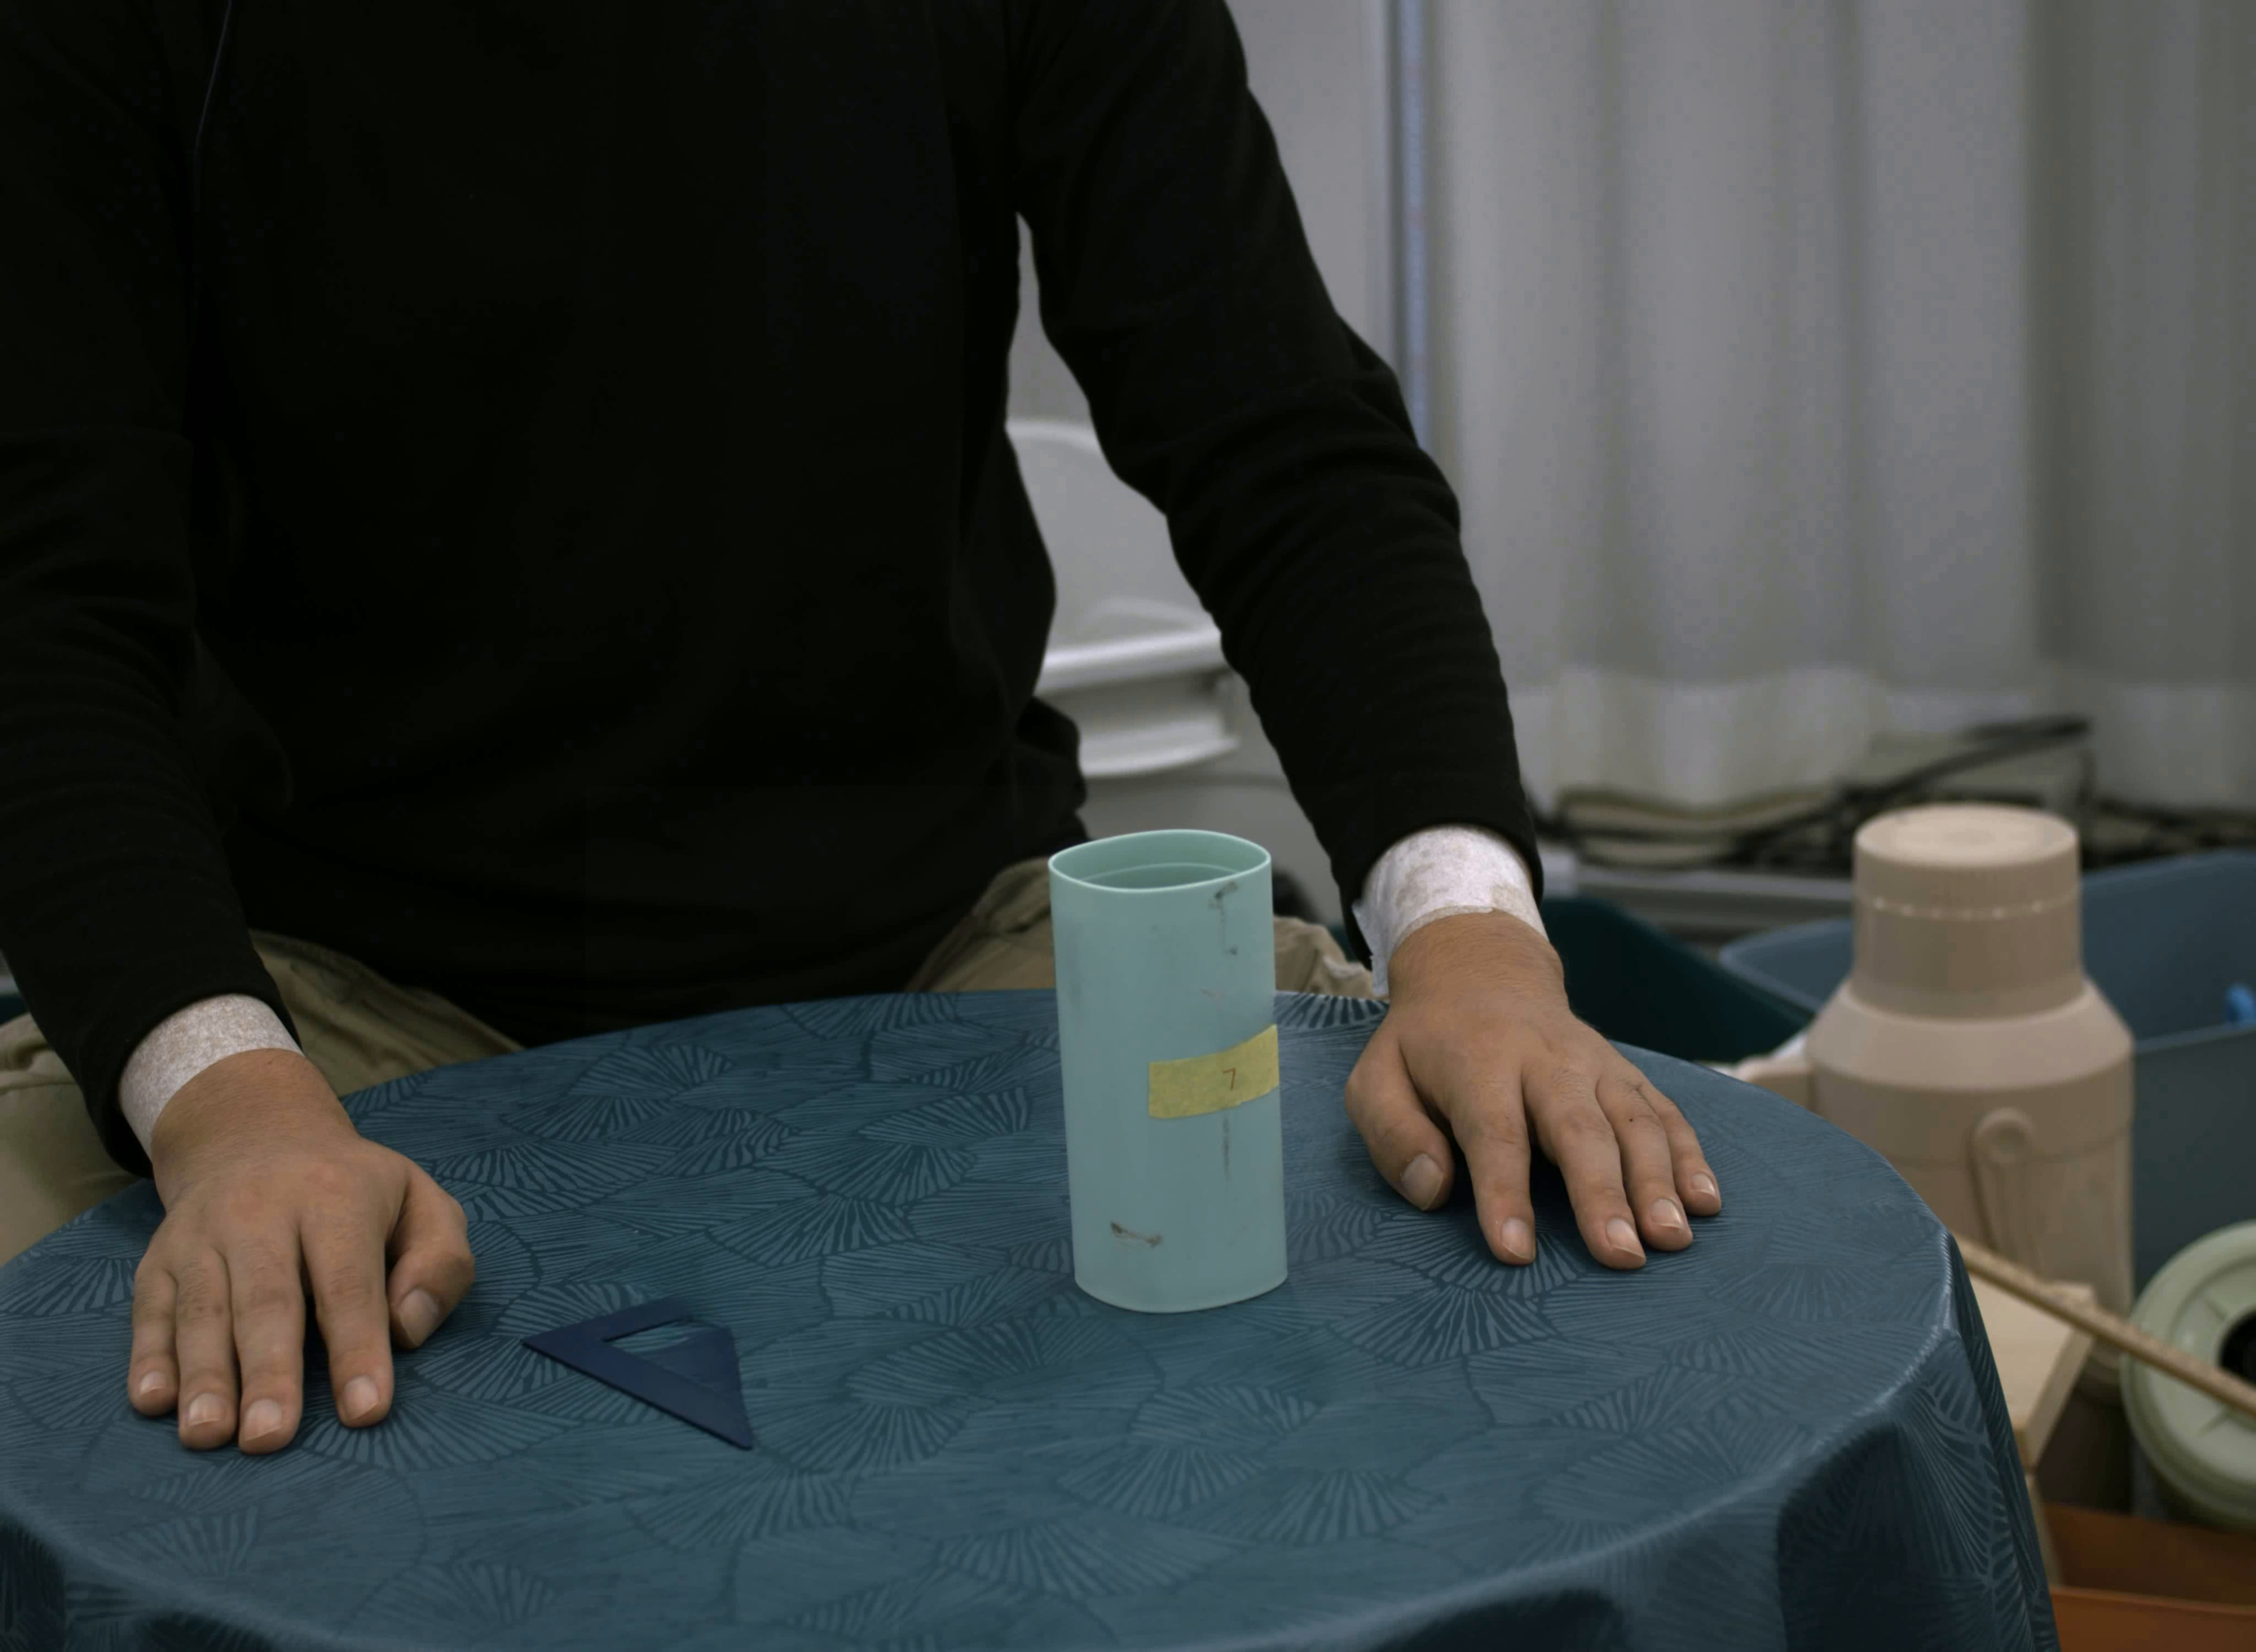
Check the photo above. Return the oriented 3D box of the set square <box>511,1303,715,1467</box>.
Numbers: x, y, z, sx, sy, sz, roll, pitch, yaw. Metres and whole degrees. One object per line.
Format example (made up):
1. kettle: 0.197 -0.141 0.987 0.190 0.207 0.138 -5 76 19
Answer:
1. set square: -0.148 0.159 1.566 0.061 0.006 0.133 -2 15 -3

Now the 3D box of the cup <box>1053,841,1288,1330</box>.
1. cup: 0.013 0.076 1.620 0.066 0.132 0.067 -3 14 0
